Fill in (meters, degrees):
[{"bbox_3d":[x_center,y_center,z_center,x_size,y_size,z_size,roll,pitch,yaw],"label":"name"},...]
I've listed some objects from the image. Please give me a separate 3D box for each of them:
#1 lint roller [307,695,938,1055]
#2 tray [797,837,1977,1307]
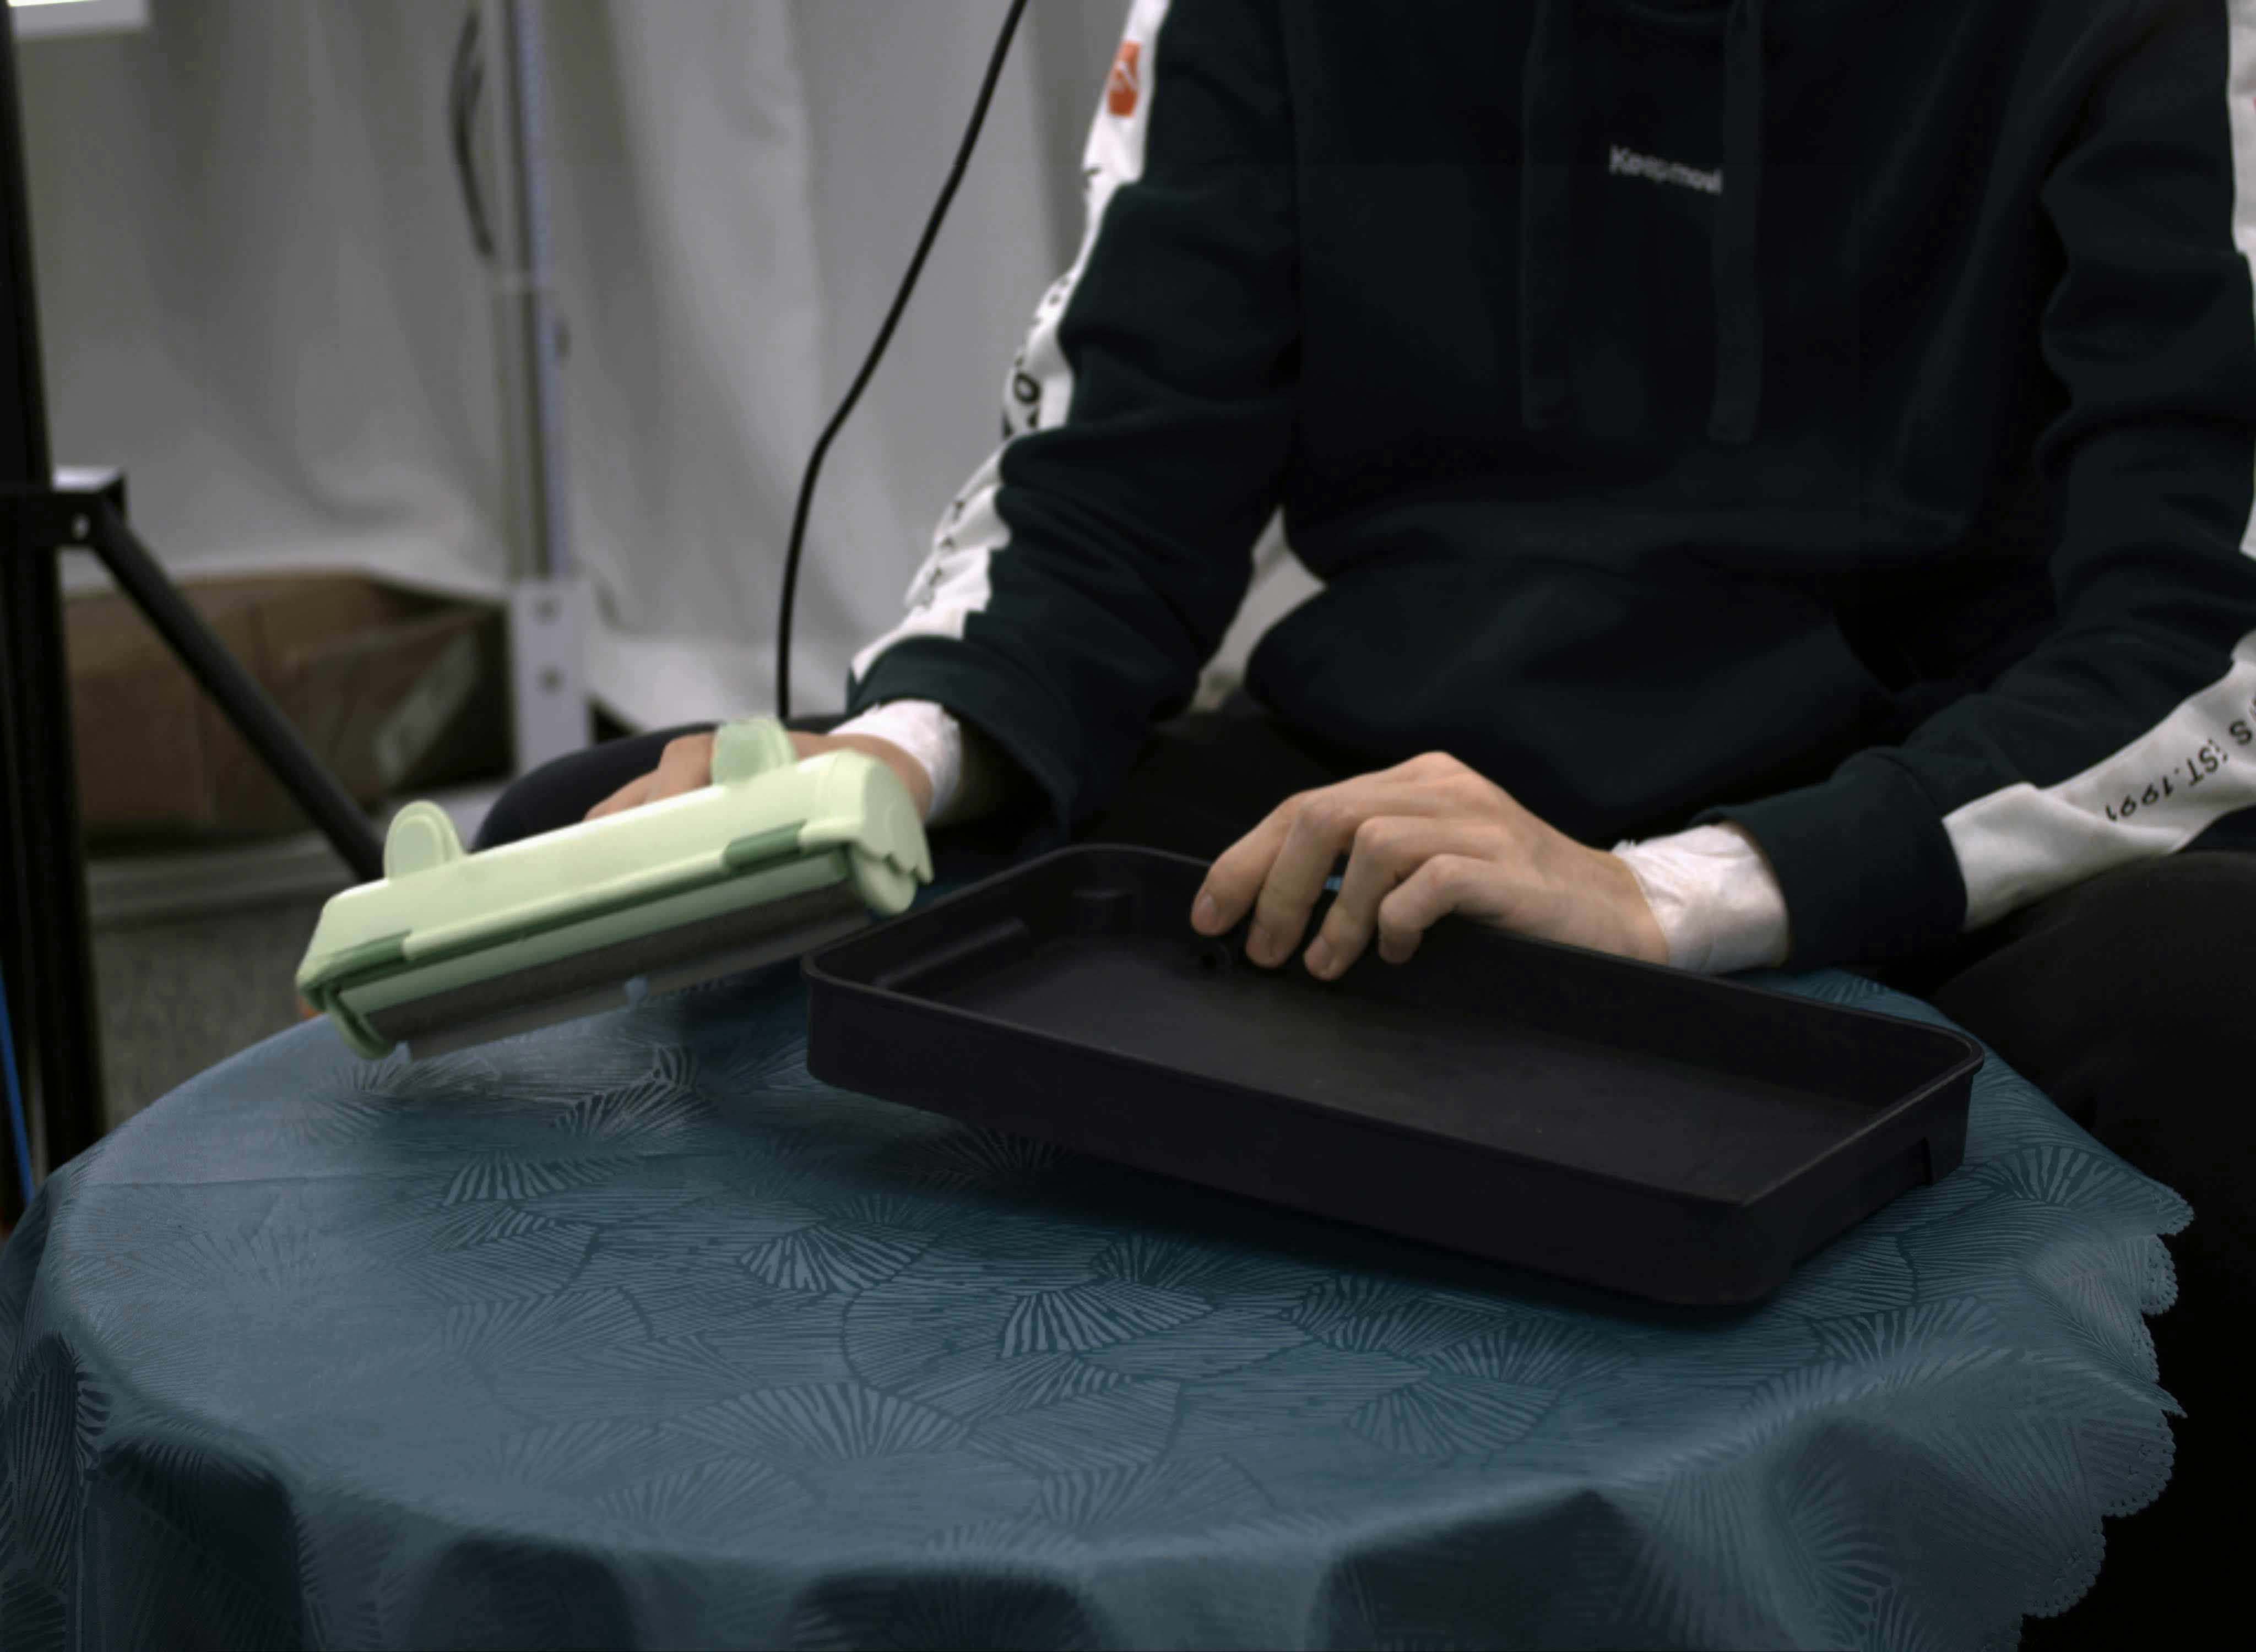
[{"bbox_3d":[-0.147,0.003,1.707,0.200,0.082,0.182,-16,10,19],"label":"lint roller"},{"bbox_3d":[0.074,0.067,1.562,0.324,0.037,0.180,13,18,31],"label":"tray"}]
